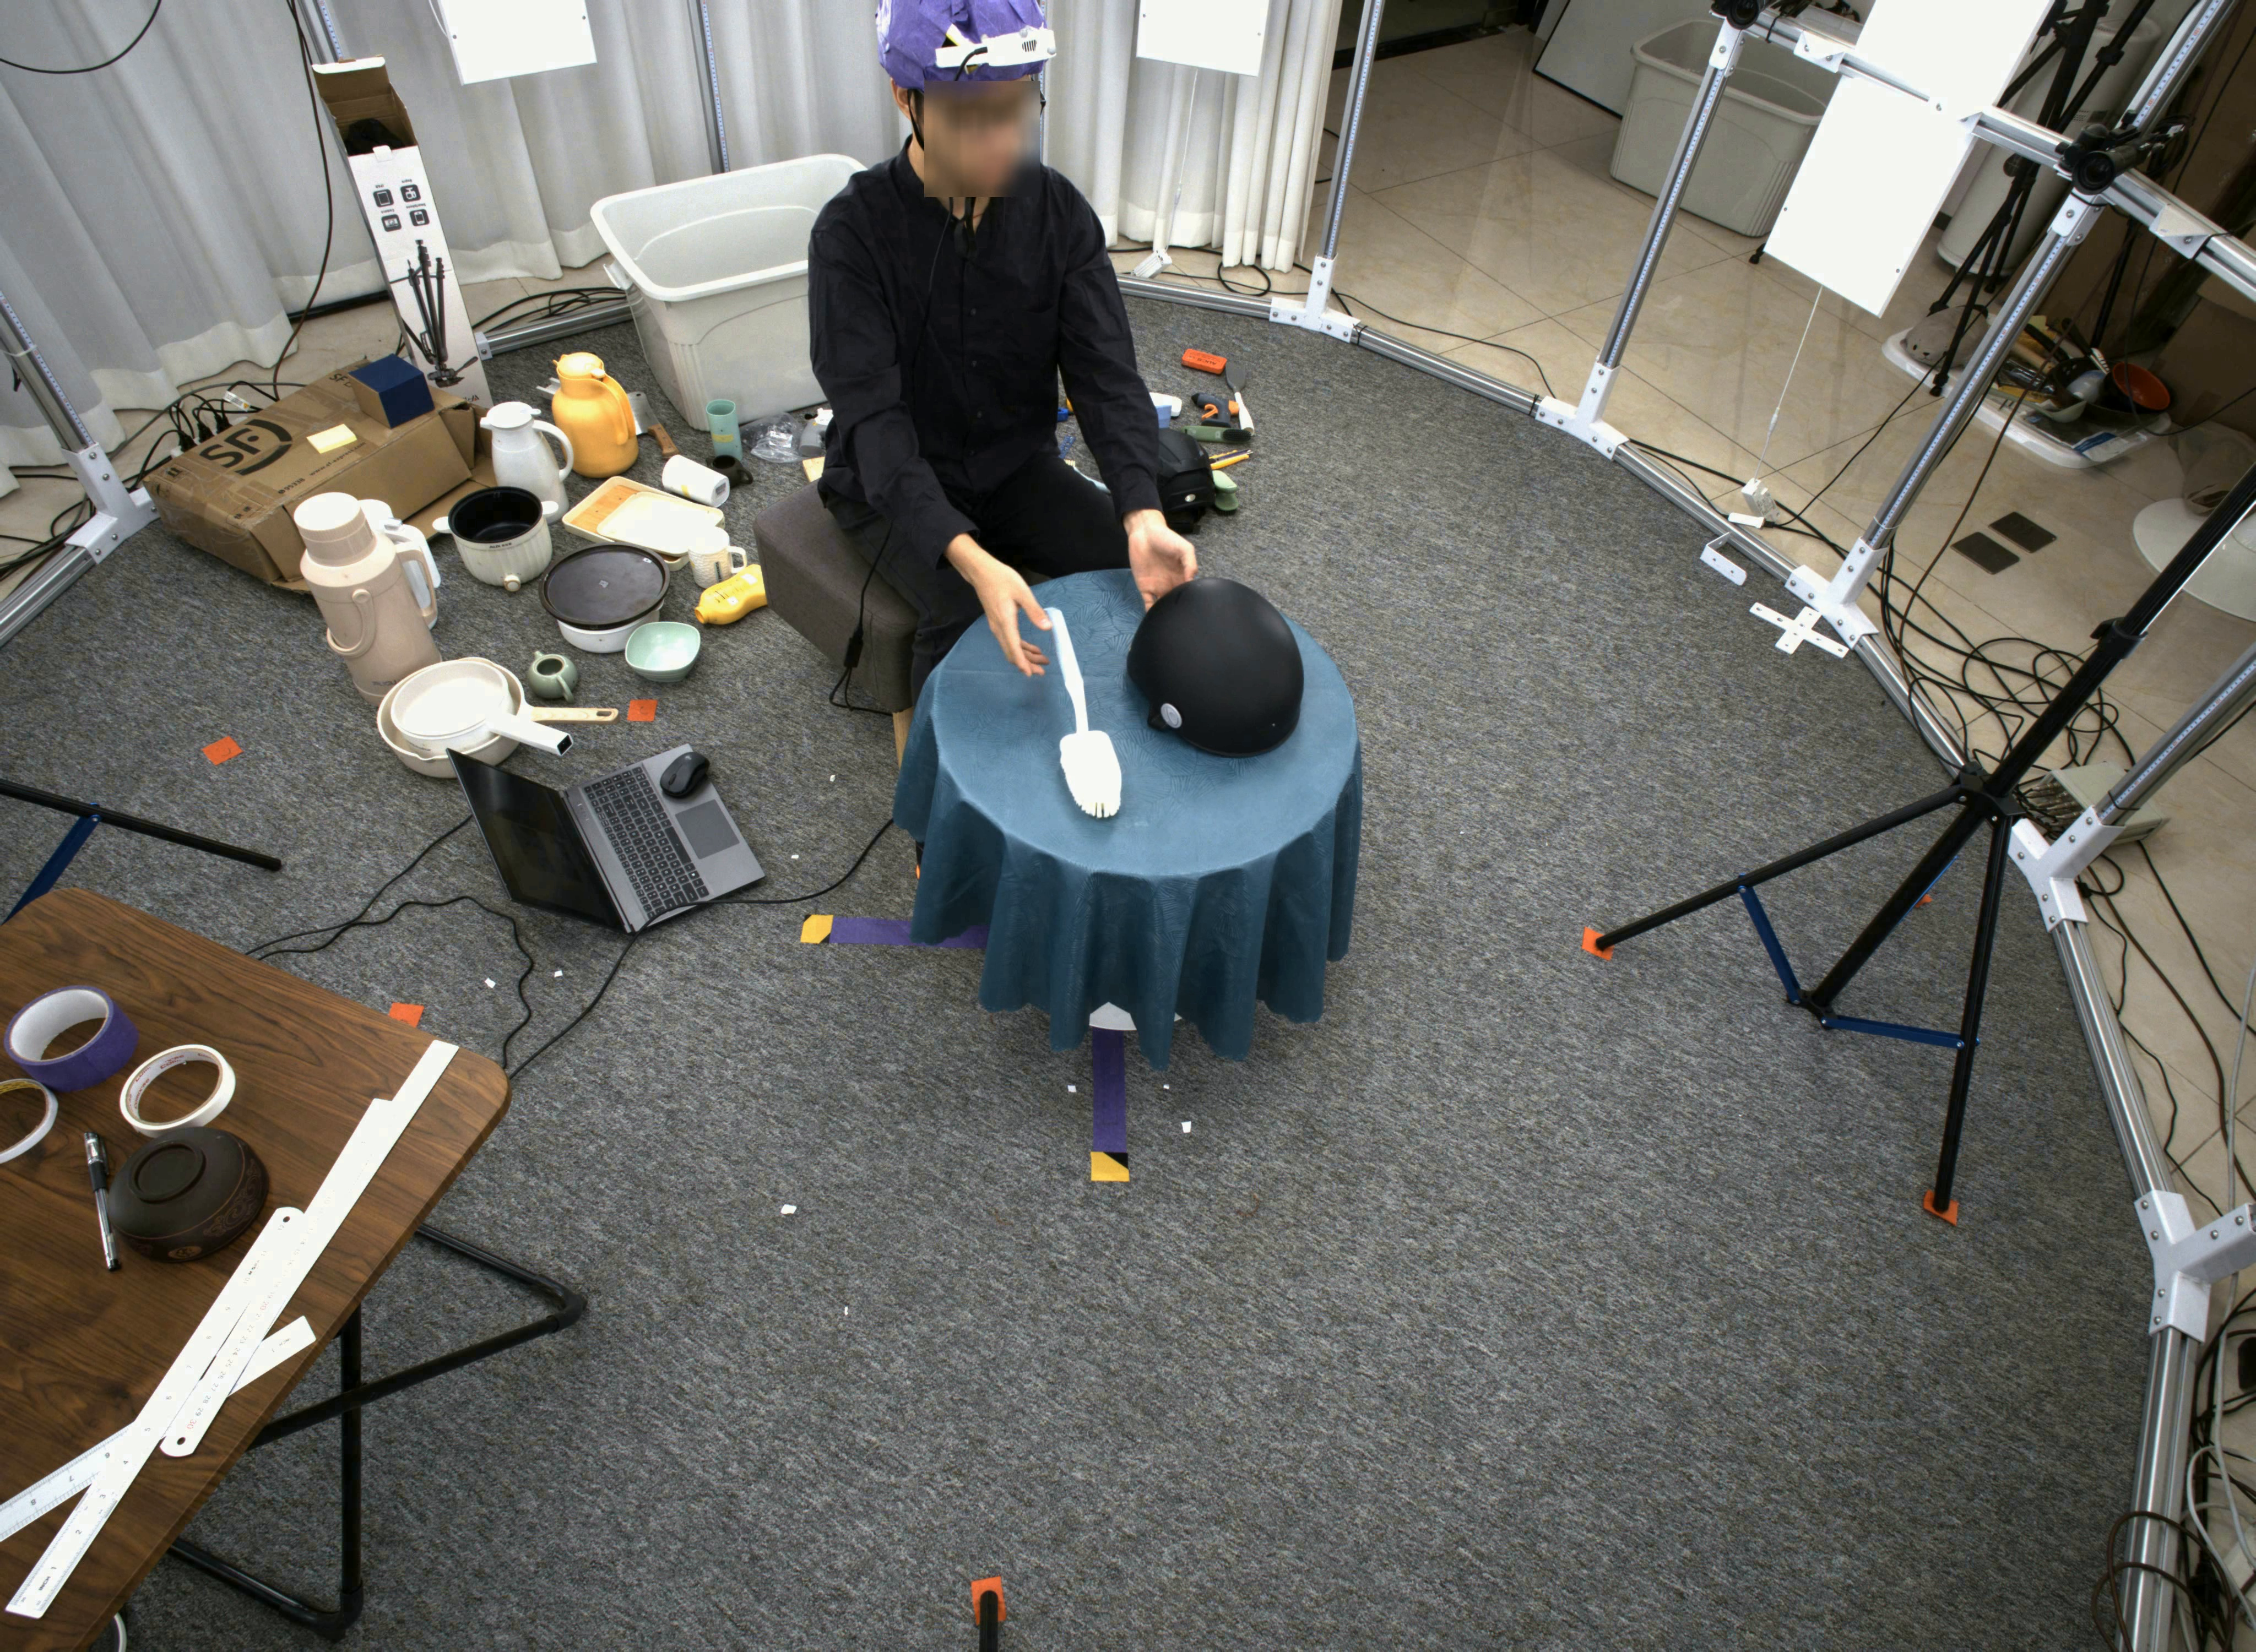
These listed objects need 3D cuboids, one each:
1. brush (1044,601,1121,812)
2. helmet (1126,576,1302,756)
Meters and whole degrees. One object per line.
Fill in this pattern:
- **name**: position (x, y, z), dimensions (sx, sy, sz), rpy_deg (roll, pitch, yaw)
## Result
- **brush**: position (-0.066, -0.160, 1.748), dimensions (0.082, 0.083, 0.332), rpy_deg (13, 52, -44)
- **helmet**: position (0.128, -0.243, 1.787), dimensions (0.231, 0.163, 0.278), rpy_deg (-24, 58, -21)
